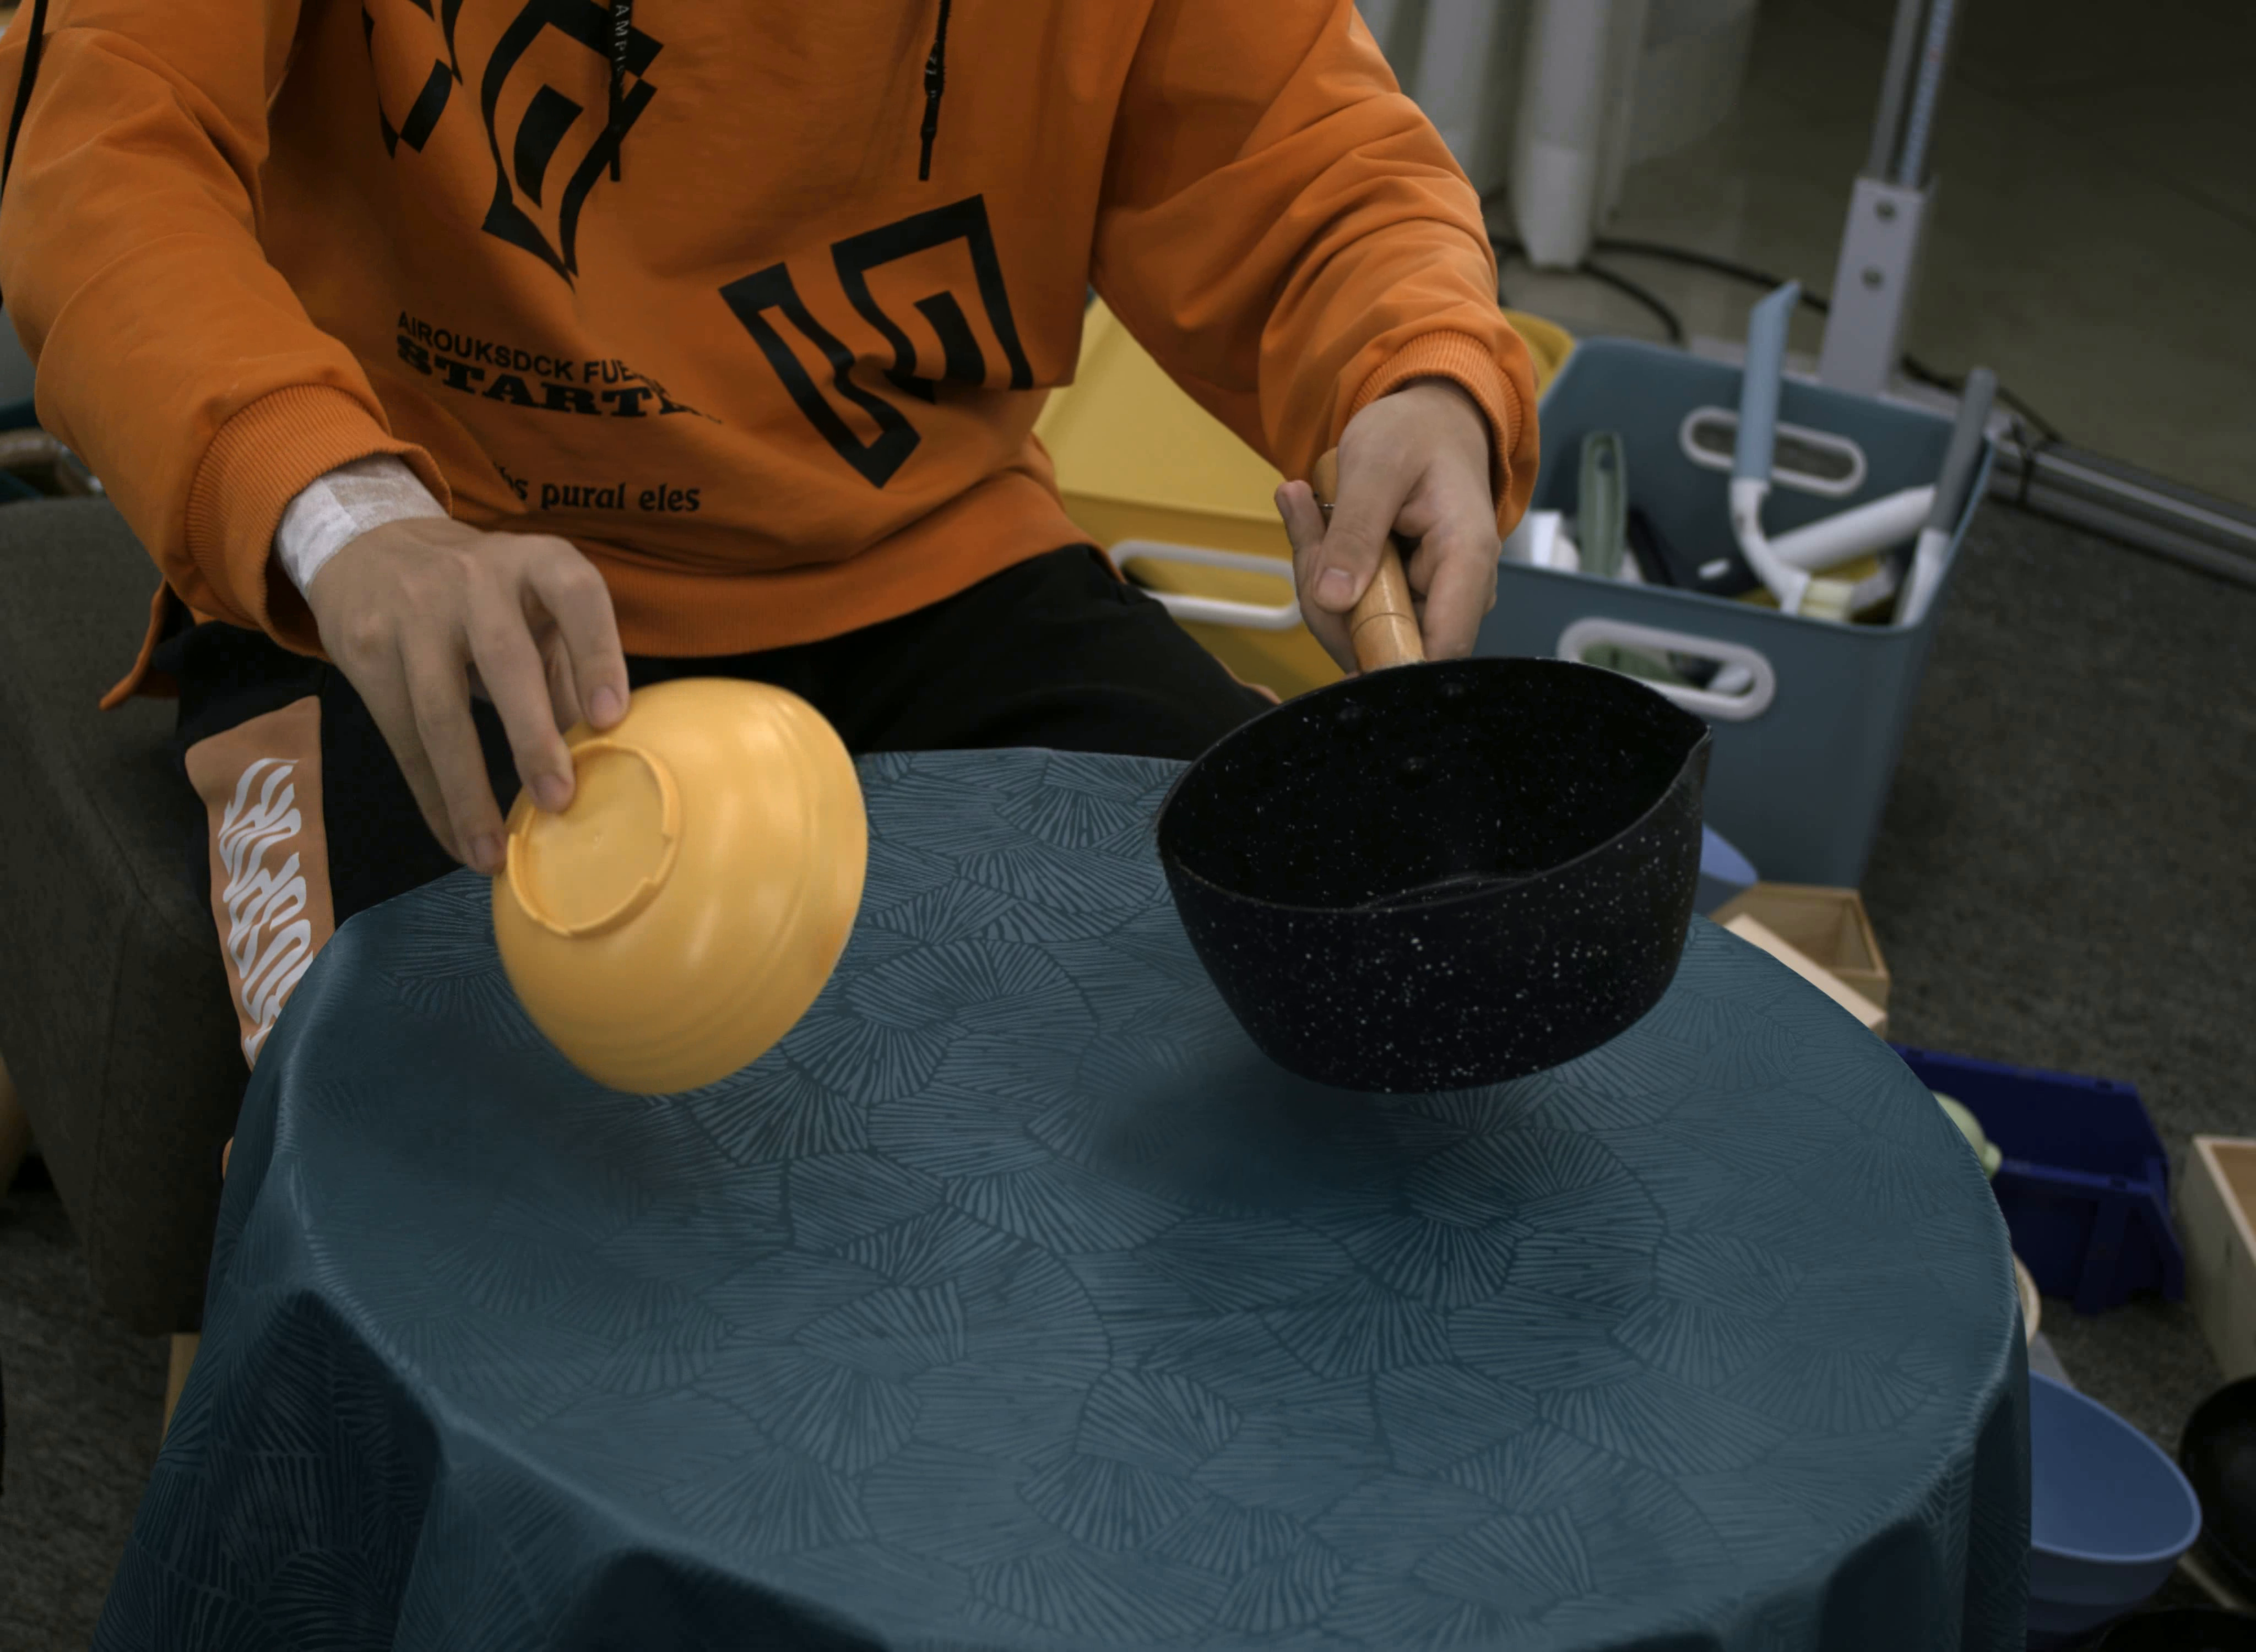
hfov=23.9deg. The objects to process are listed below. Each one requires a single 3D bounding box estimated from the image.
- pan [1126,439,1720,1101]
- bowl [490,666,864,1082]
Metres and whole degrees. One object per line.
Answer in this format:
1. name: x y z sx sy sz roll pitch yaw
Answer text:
1. pan: 0.101 -0.025 1.903 0.207 0.107 0.345 -13 27 2
2. bowl: -0.161 0.007 1.753 0.146 0.145 0.059 31 1 39
